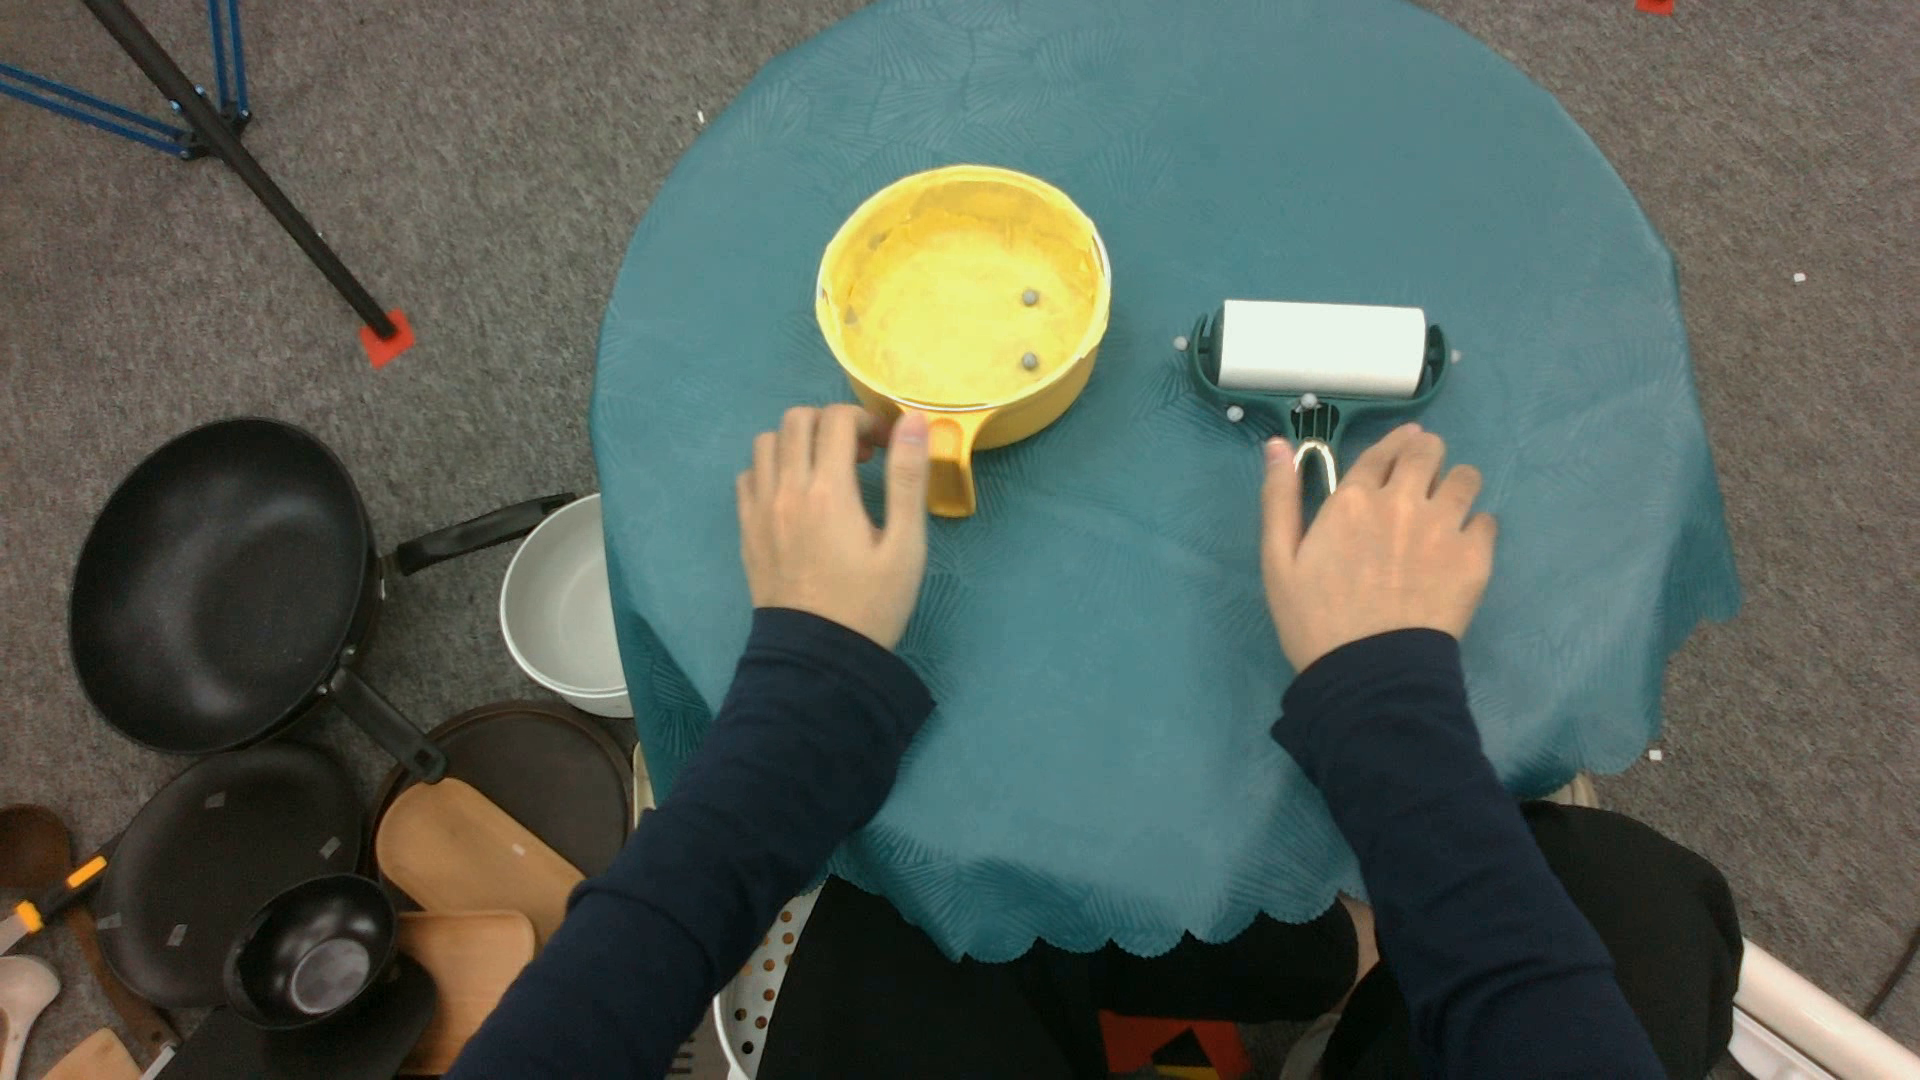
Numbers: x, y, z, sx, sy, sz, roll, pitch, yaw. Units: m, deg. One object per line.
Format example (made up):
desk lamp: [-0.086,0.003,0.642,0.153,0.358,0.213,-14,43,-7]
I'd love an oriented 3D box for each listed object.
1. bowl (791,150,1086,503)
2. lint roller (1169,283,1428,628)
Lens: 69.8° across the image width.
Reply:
bowl: [-0.011,-0.114,0.732,0.153,0.074,0.180,-1,65,2]
lint roller: [0.170,-0.047,0.704,0.134,0.048,0.180,4,70,5]
